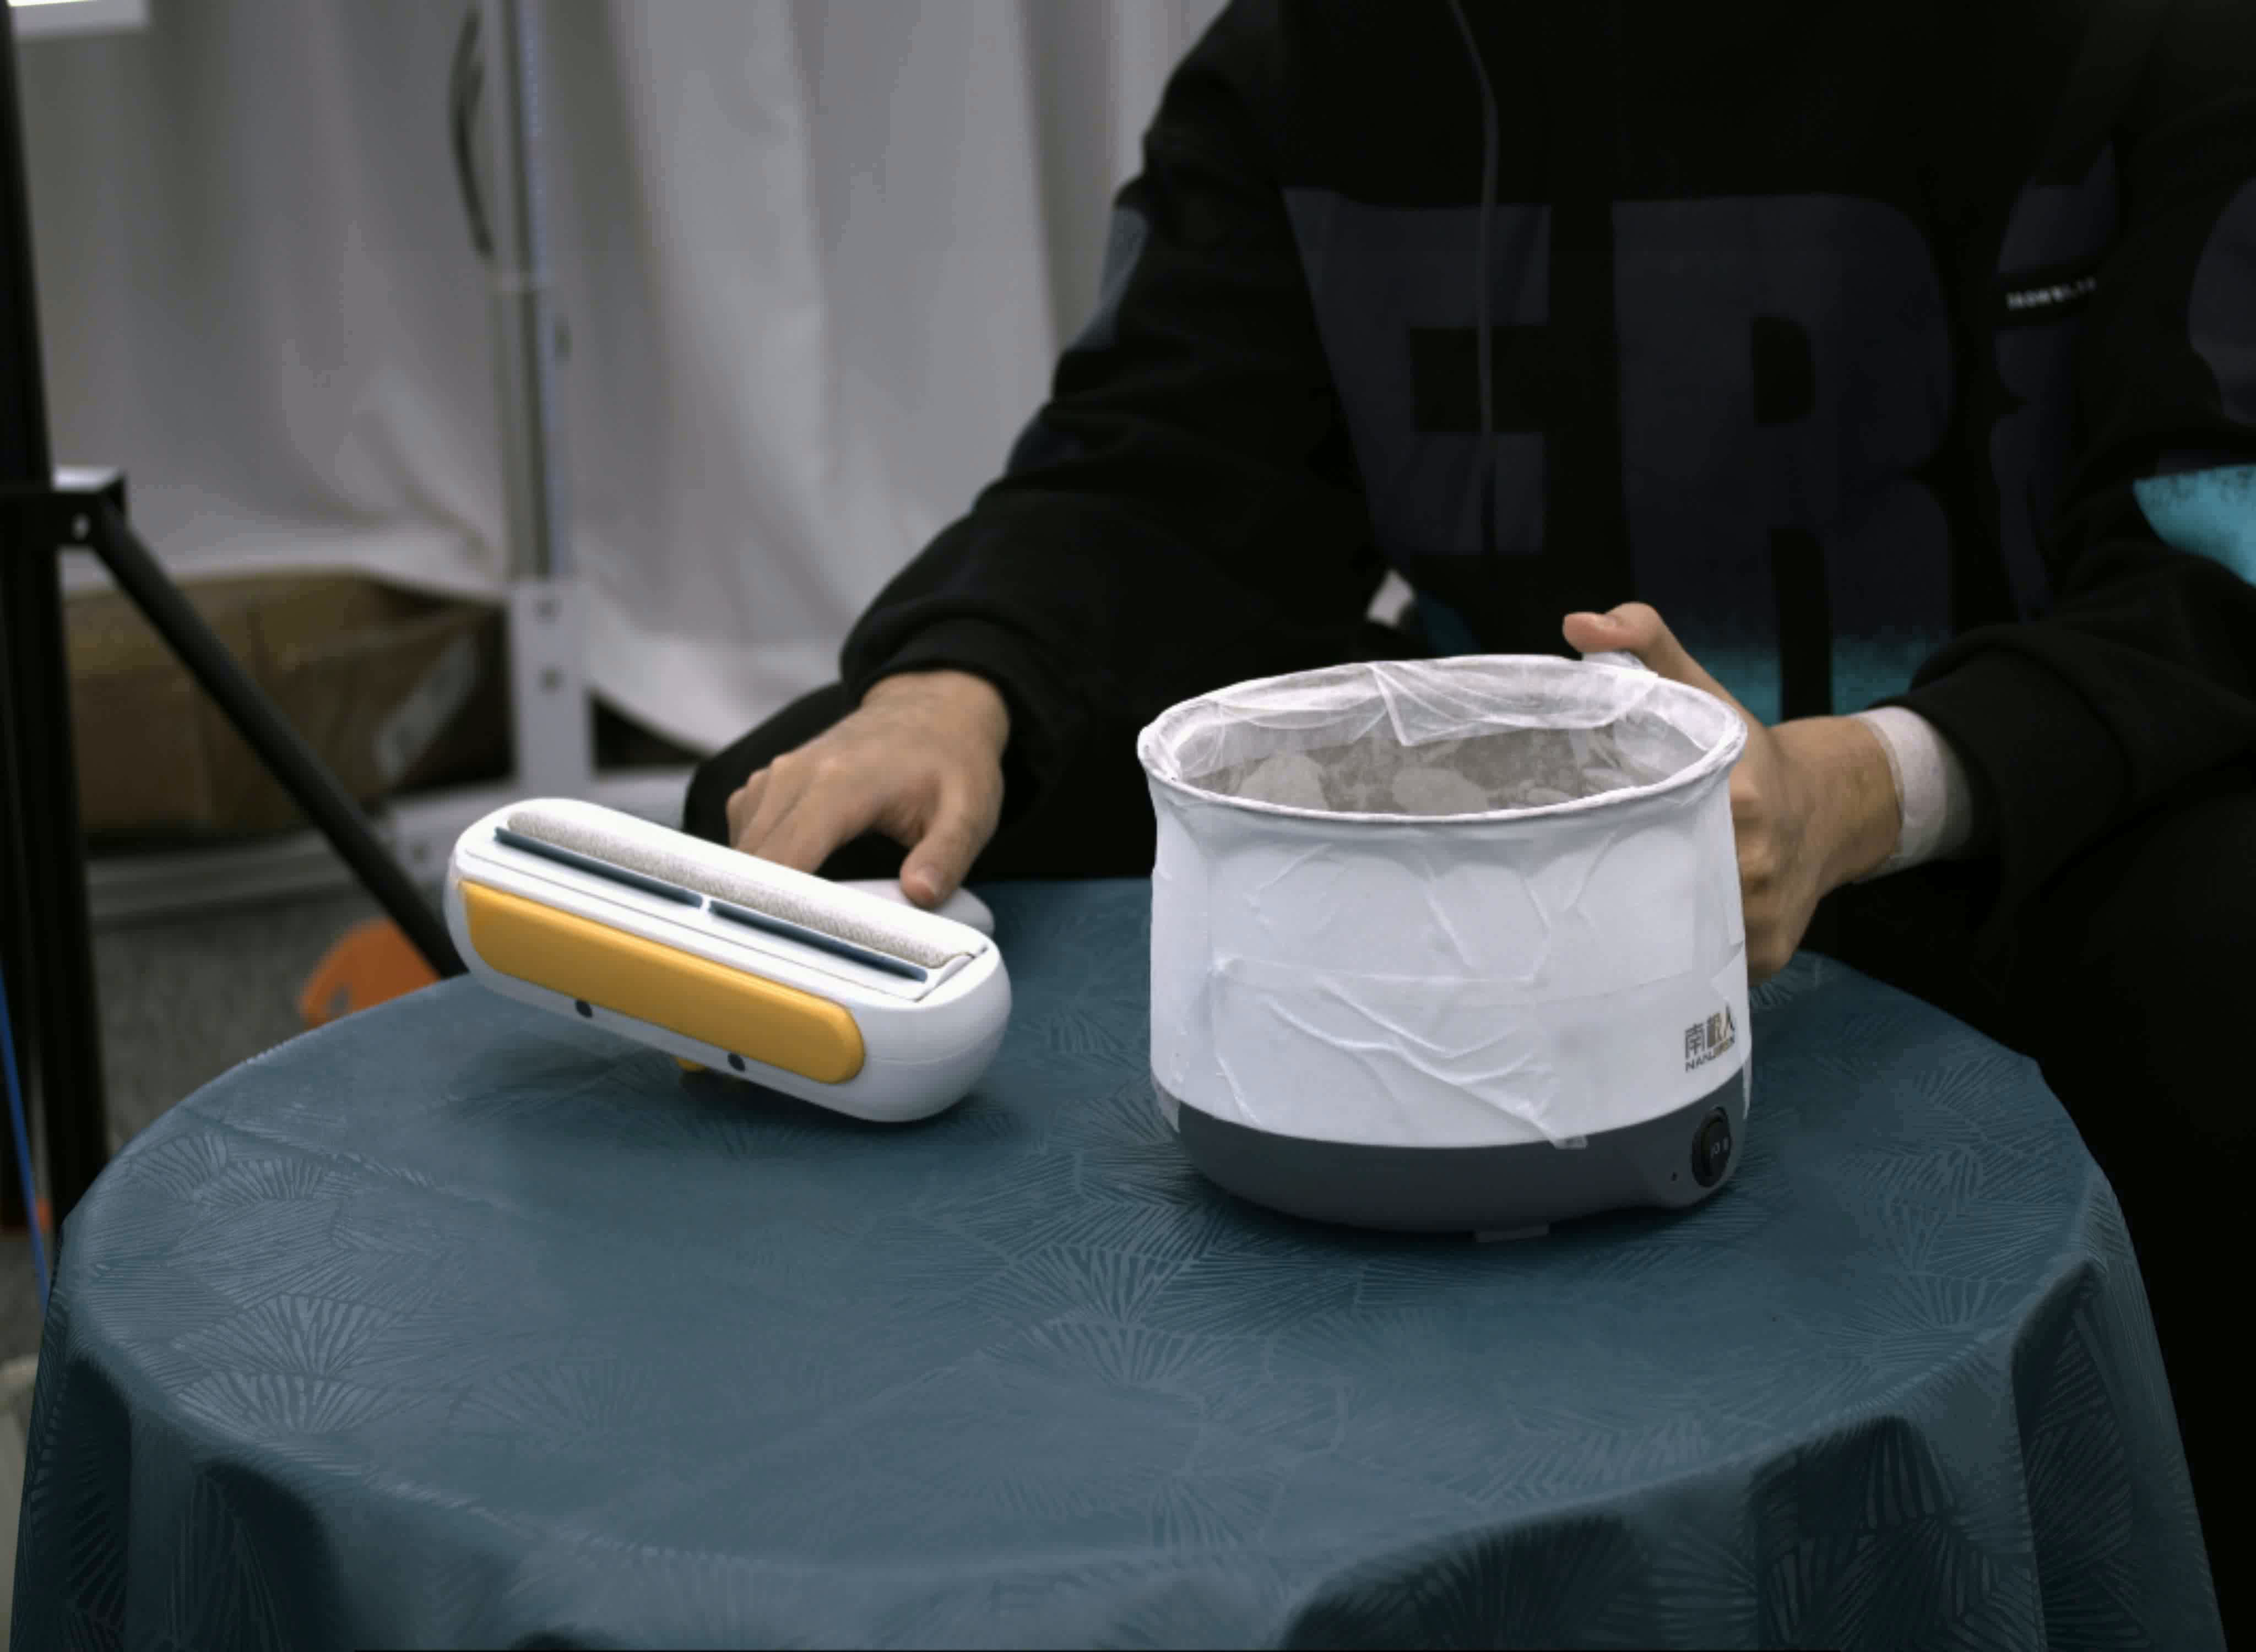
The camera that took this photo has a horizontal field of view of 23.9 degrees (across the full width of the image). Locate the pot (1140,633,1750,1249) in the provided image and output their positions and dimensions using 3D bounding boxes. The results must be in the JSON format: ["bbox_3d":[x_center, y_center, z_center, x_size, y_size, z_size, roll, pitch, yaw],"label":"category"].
[{"bbox_3d":[0.108,0.027,1.570,0.182,0.136,0.229,10,21,33],"label":"pot"}]

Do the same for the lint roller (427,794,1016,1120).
[{"bbox_3d":[-0.101,0.033,1.715,0.196,0.074,0.188,14,20,32],"label":"lint roller"}]
